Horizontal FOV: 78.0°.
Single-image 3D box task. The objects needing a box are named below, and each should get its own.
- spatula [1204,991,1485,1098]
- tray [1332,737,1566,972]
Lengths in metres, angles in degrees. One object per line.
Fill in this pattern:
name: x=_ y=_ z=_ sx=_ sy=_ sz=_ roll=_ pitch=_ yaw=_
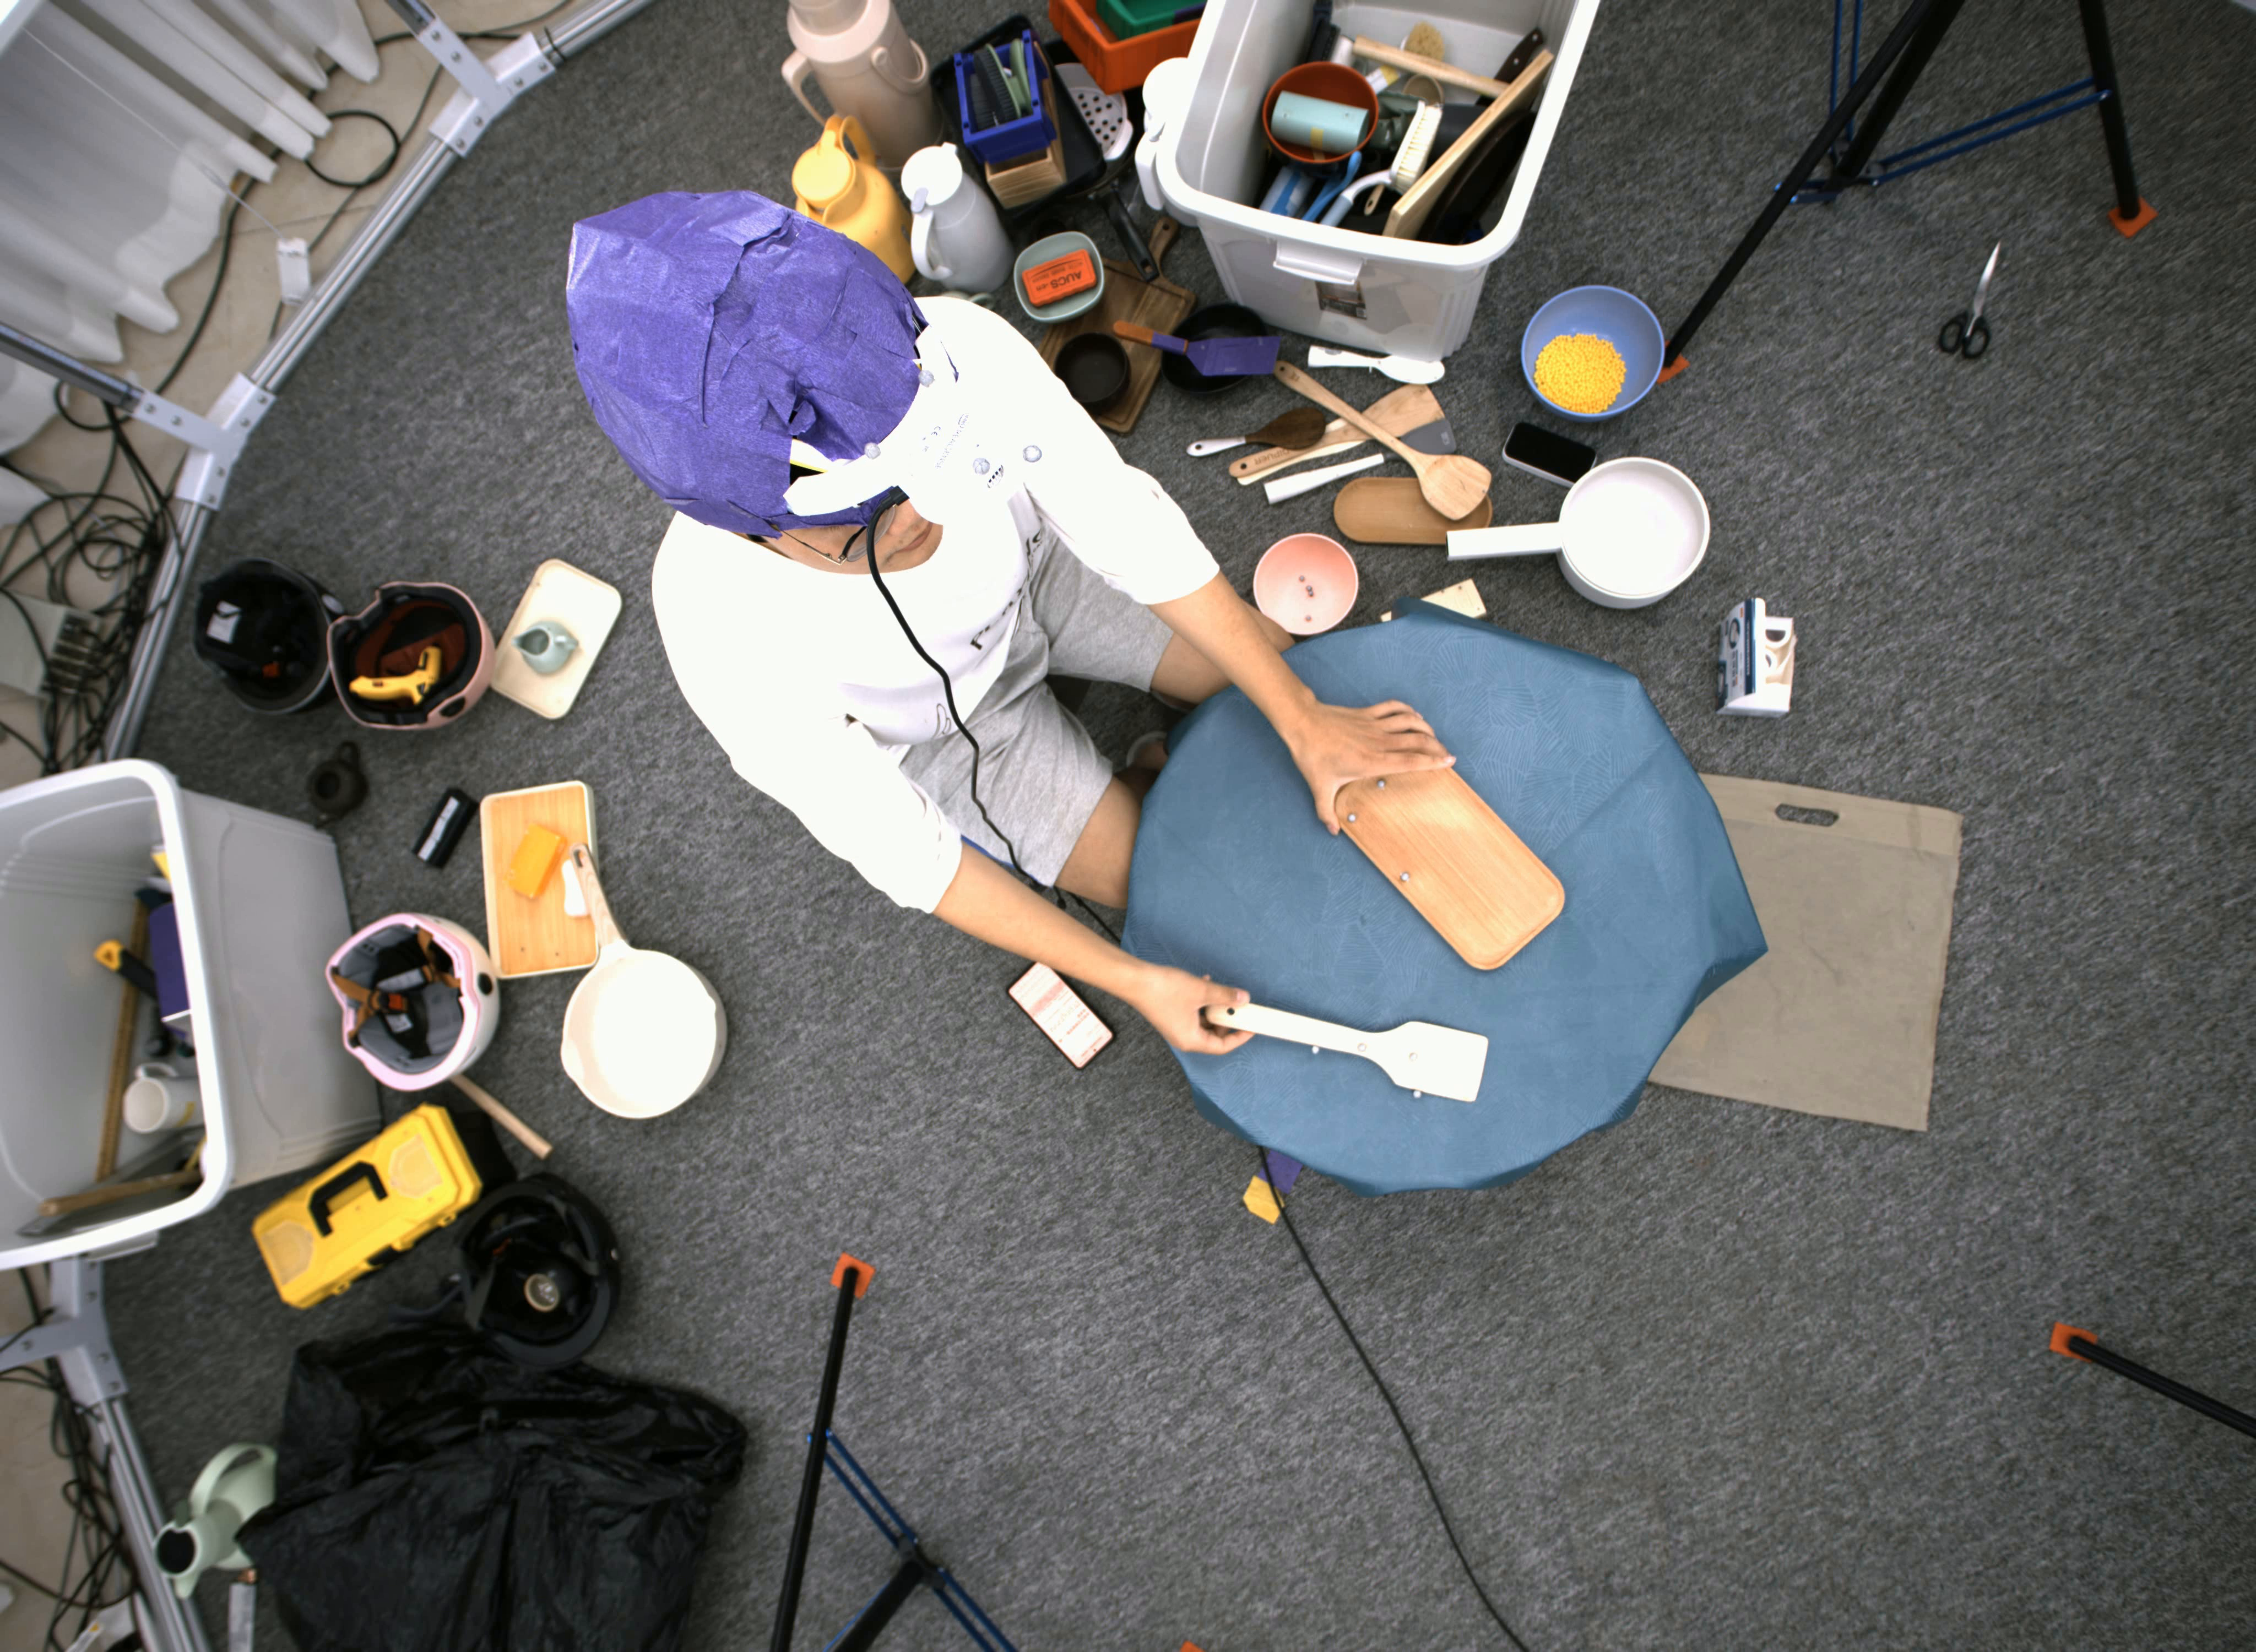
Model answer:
spatula: x=0.222 y=0.216 z=1.437 sx=0.293 sy=0.010 sz=0.072 roll=13 pitch=89 yaw=2
tray: x=0.334 y=0.027 z=1.441 sx=0.131 sy=0.023 sz=0.249 roll=-43 pitch=81 yaw=9
